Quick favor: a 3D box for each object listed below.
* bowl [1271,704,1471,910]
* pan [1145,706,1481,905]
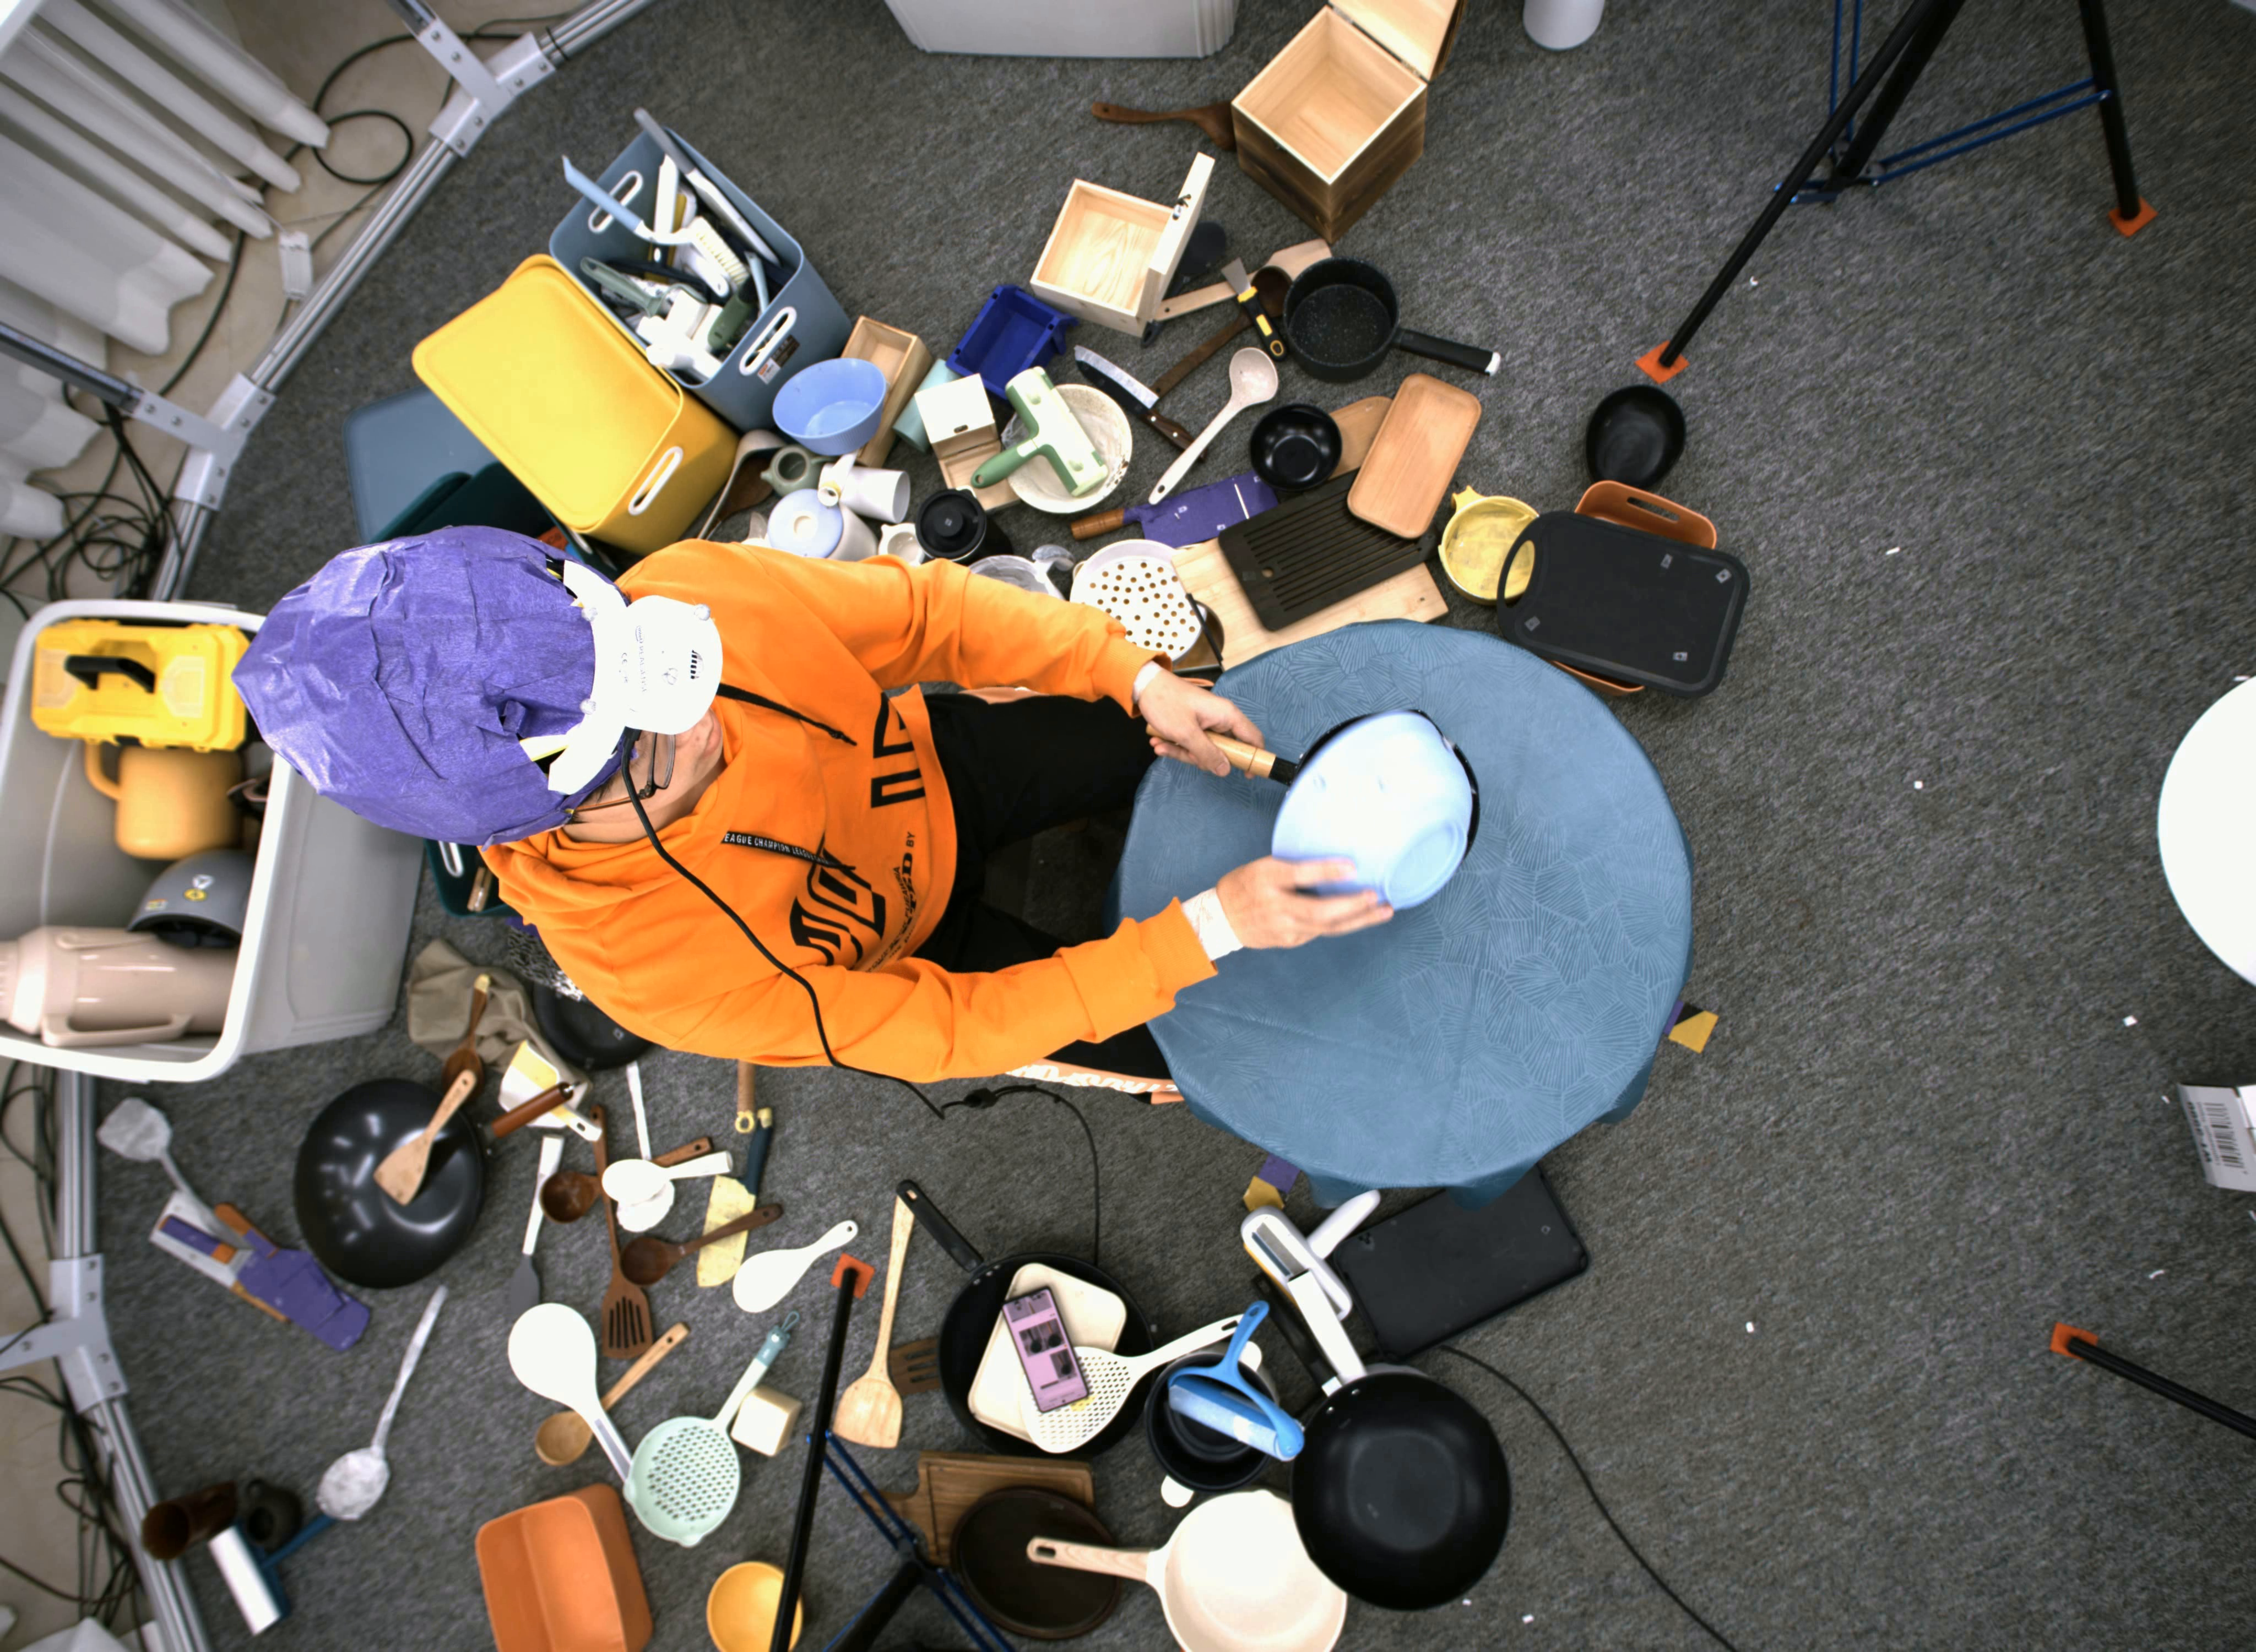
[{"bbox_3d":[0.232,-0.001,1.220,0.197,0.198,0.094,-47,47,3],"label":"bowl"},{"bbox_3d":[0.182,-0.043,1.378,0.343,0.108,0.208,20,95,15],"label":"pan"}]
